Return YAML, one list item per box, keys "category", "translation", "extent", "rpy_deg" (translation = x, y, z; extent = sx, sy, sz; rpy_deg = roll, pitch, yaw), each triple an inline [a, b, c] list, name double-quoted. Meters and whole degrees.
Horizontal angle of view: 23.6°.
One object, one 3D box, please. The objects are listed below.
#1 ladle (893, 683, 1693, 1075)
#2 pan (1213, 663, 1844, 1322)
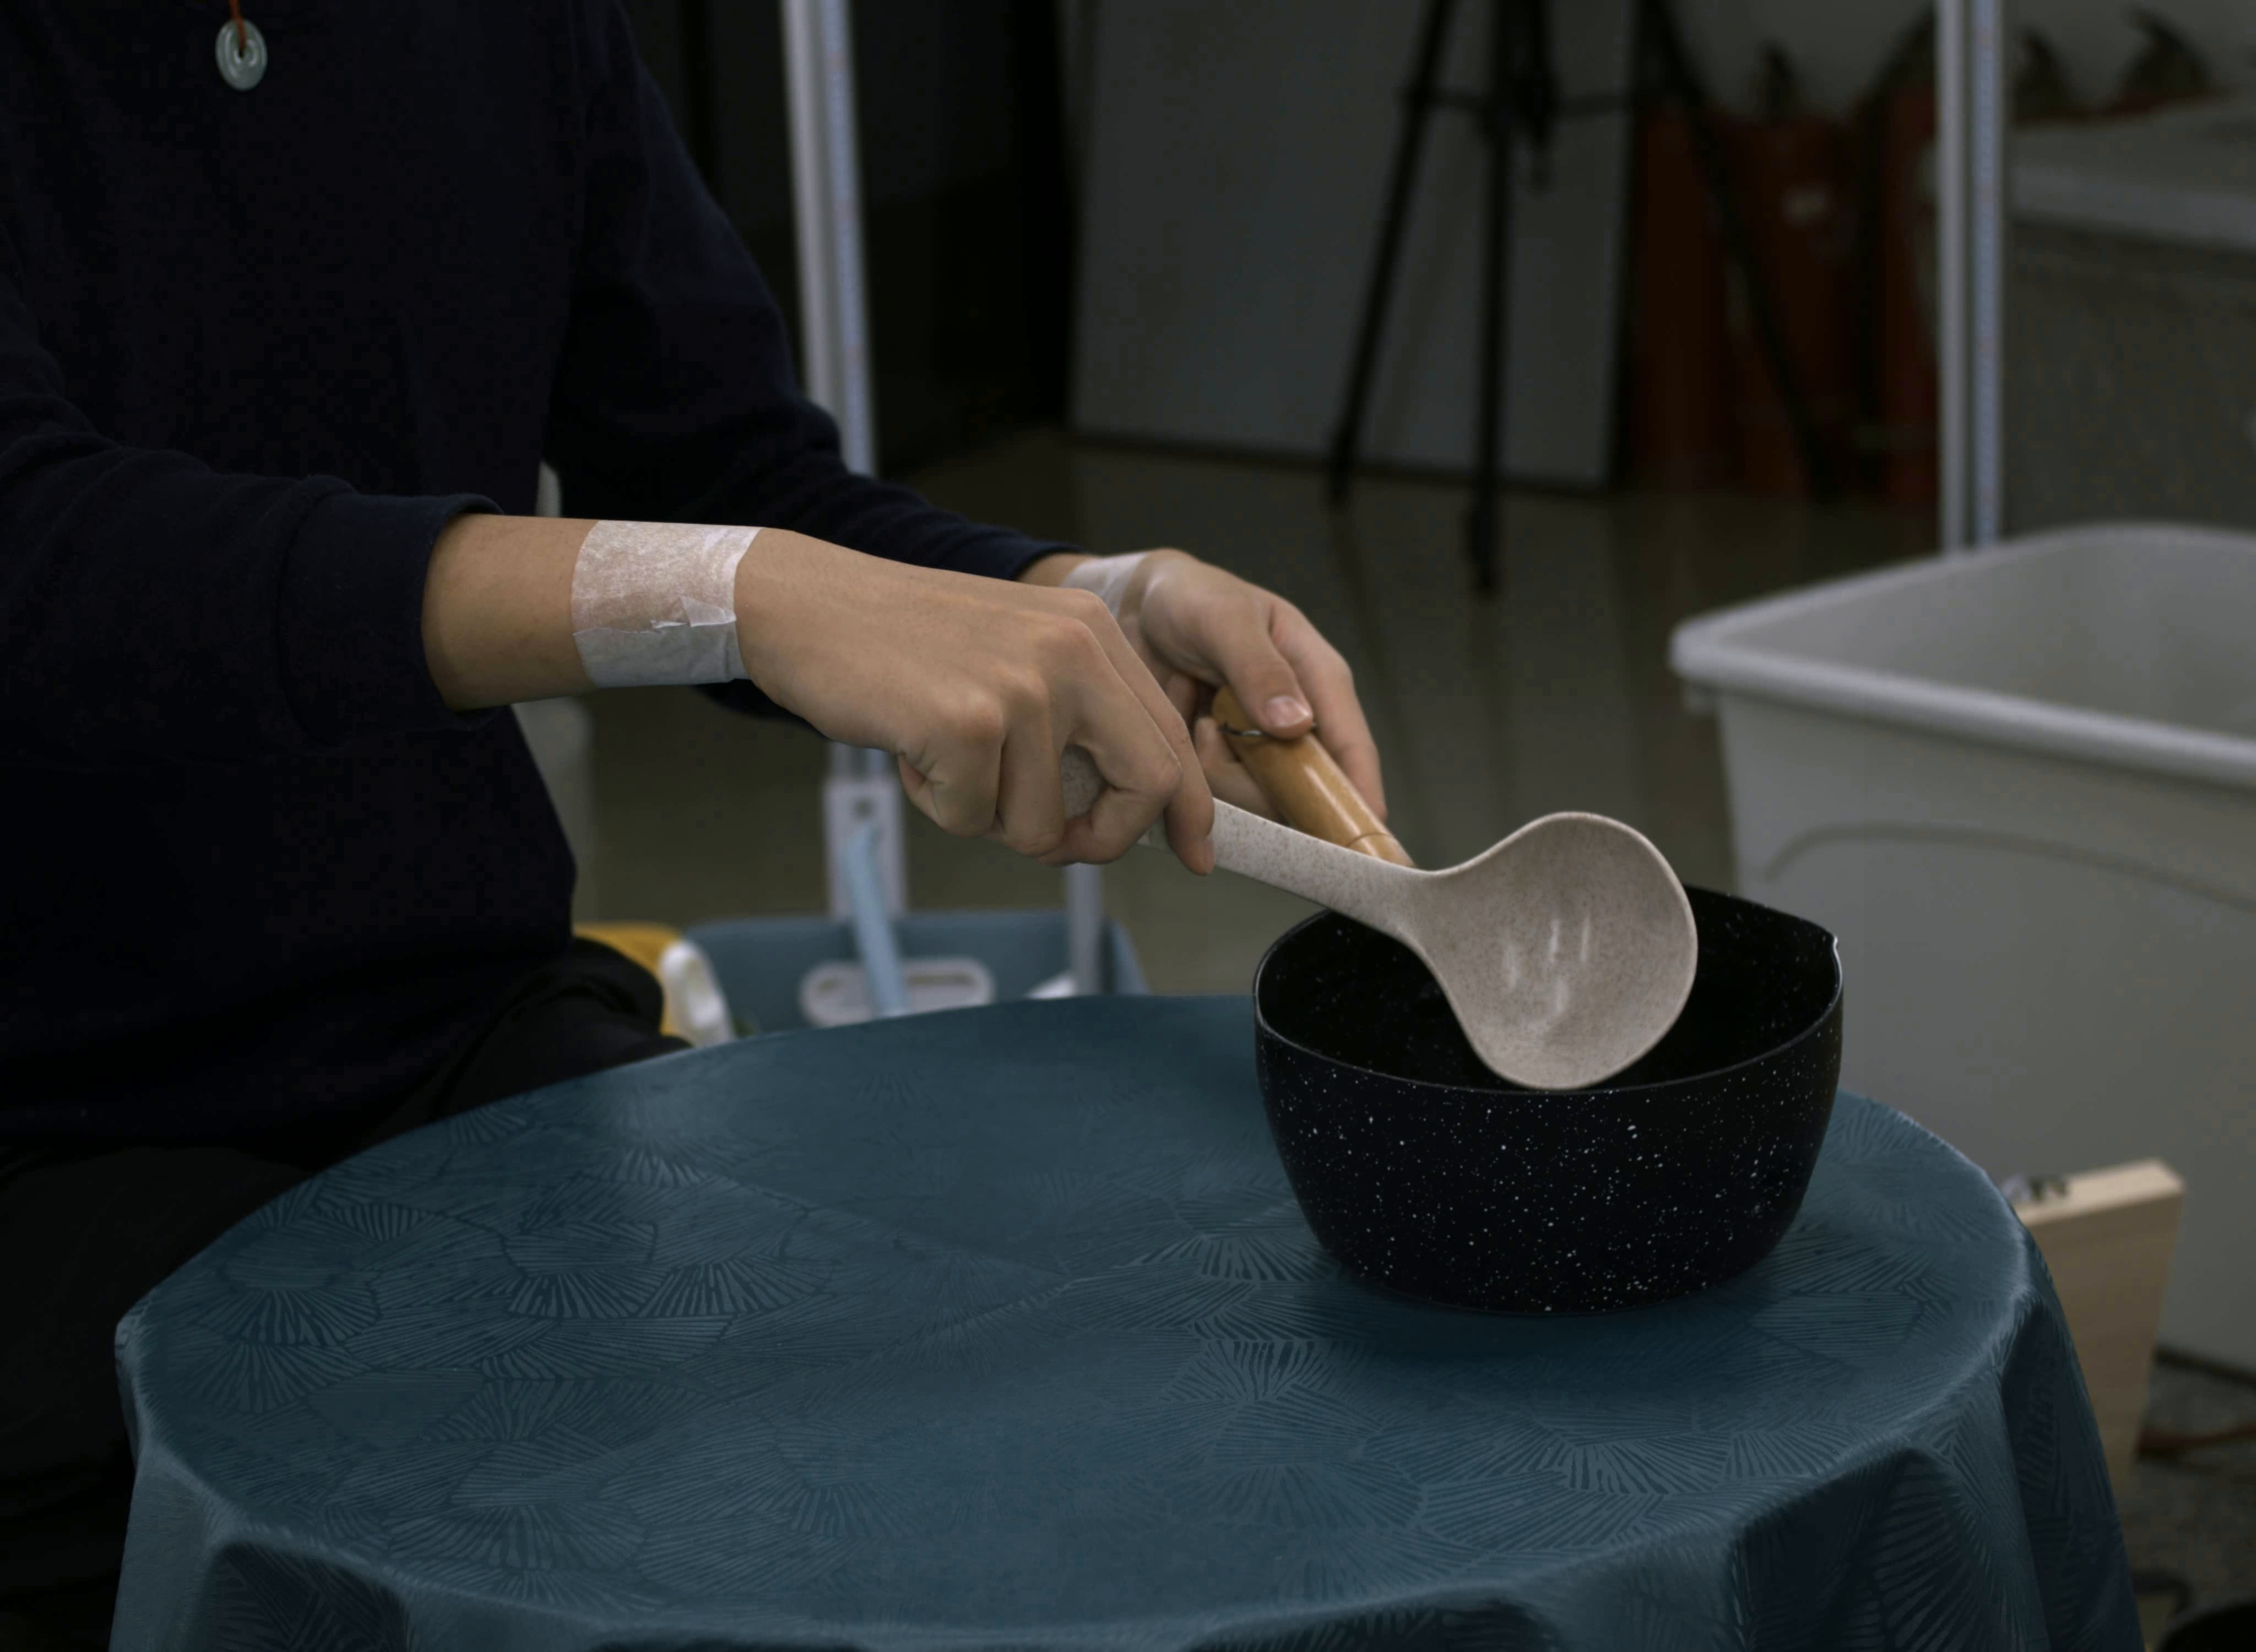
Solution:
- category: "ladle"
  translation: [0.054, 0.007, 1.619]
  extent: [0.269, 0.090, 0.070]
  rpy_deg: [21, -4, -35]
- category: "pan"
  translation: [0.100, 0.048, 1.744]
  extent: [0.203, 0.109, 0.346]
  rpy_deg: [-11, 23, -19]
